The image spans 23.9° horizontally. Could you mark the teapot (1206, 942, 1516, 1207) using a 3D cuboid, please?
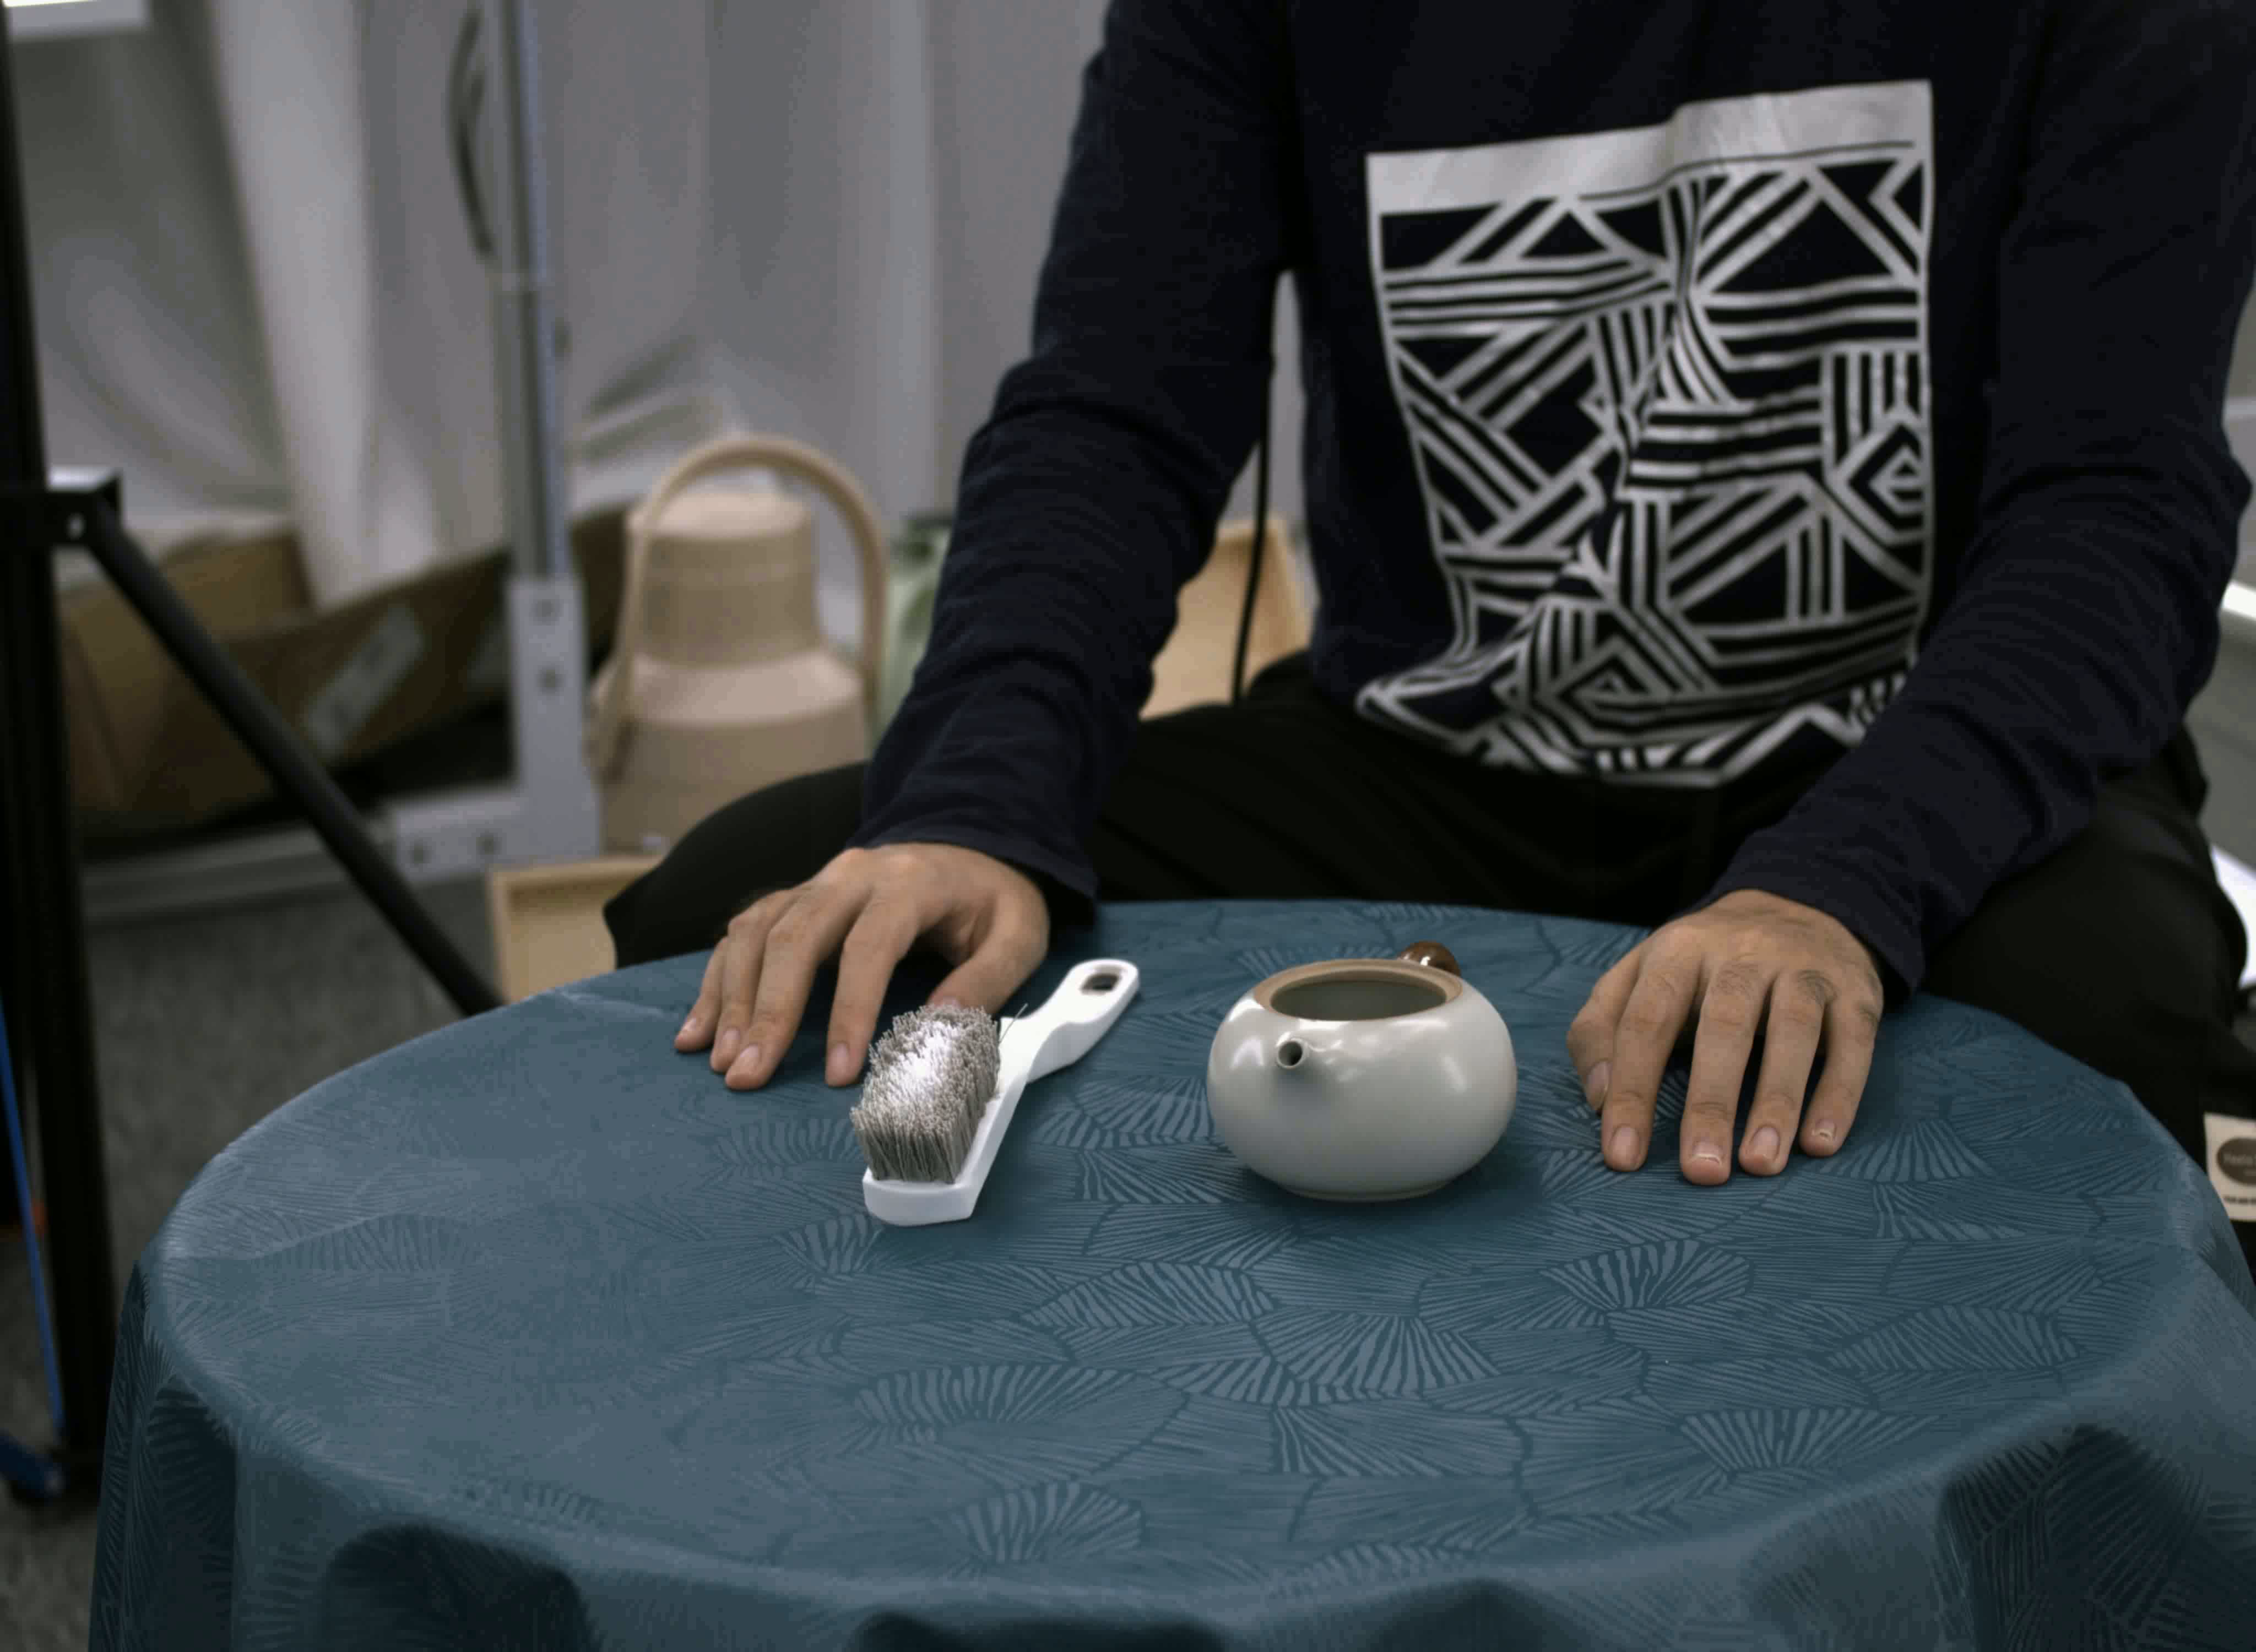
[{"bbox_3d":[0.072,0.073,1.569,0.093,0.059,0.126,2,17,23],"label":"teapot"}]

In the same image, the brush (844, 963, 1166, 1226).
[{"bbox_3d":[-0.033,0.063,1.639,0.035,0.050,0.241,-2,16,18],"label":"brush"}]
